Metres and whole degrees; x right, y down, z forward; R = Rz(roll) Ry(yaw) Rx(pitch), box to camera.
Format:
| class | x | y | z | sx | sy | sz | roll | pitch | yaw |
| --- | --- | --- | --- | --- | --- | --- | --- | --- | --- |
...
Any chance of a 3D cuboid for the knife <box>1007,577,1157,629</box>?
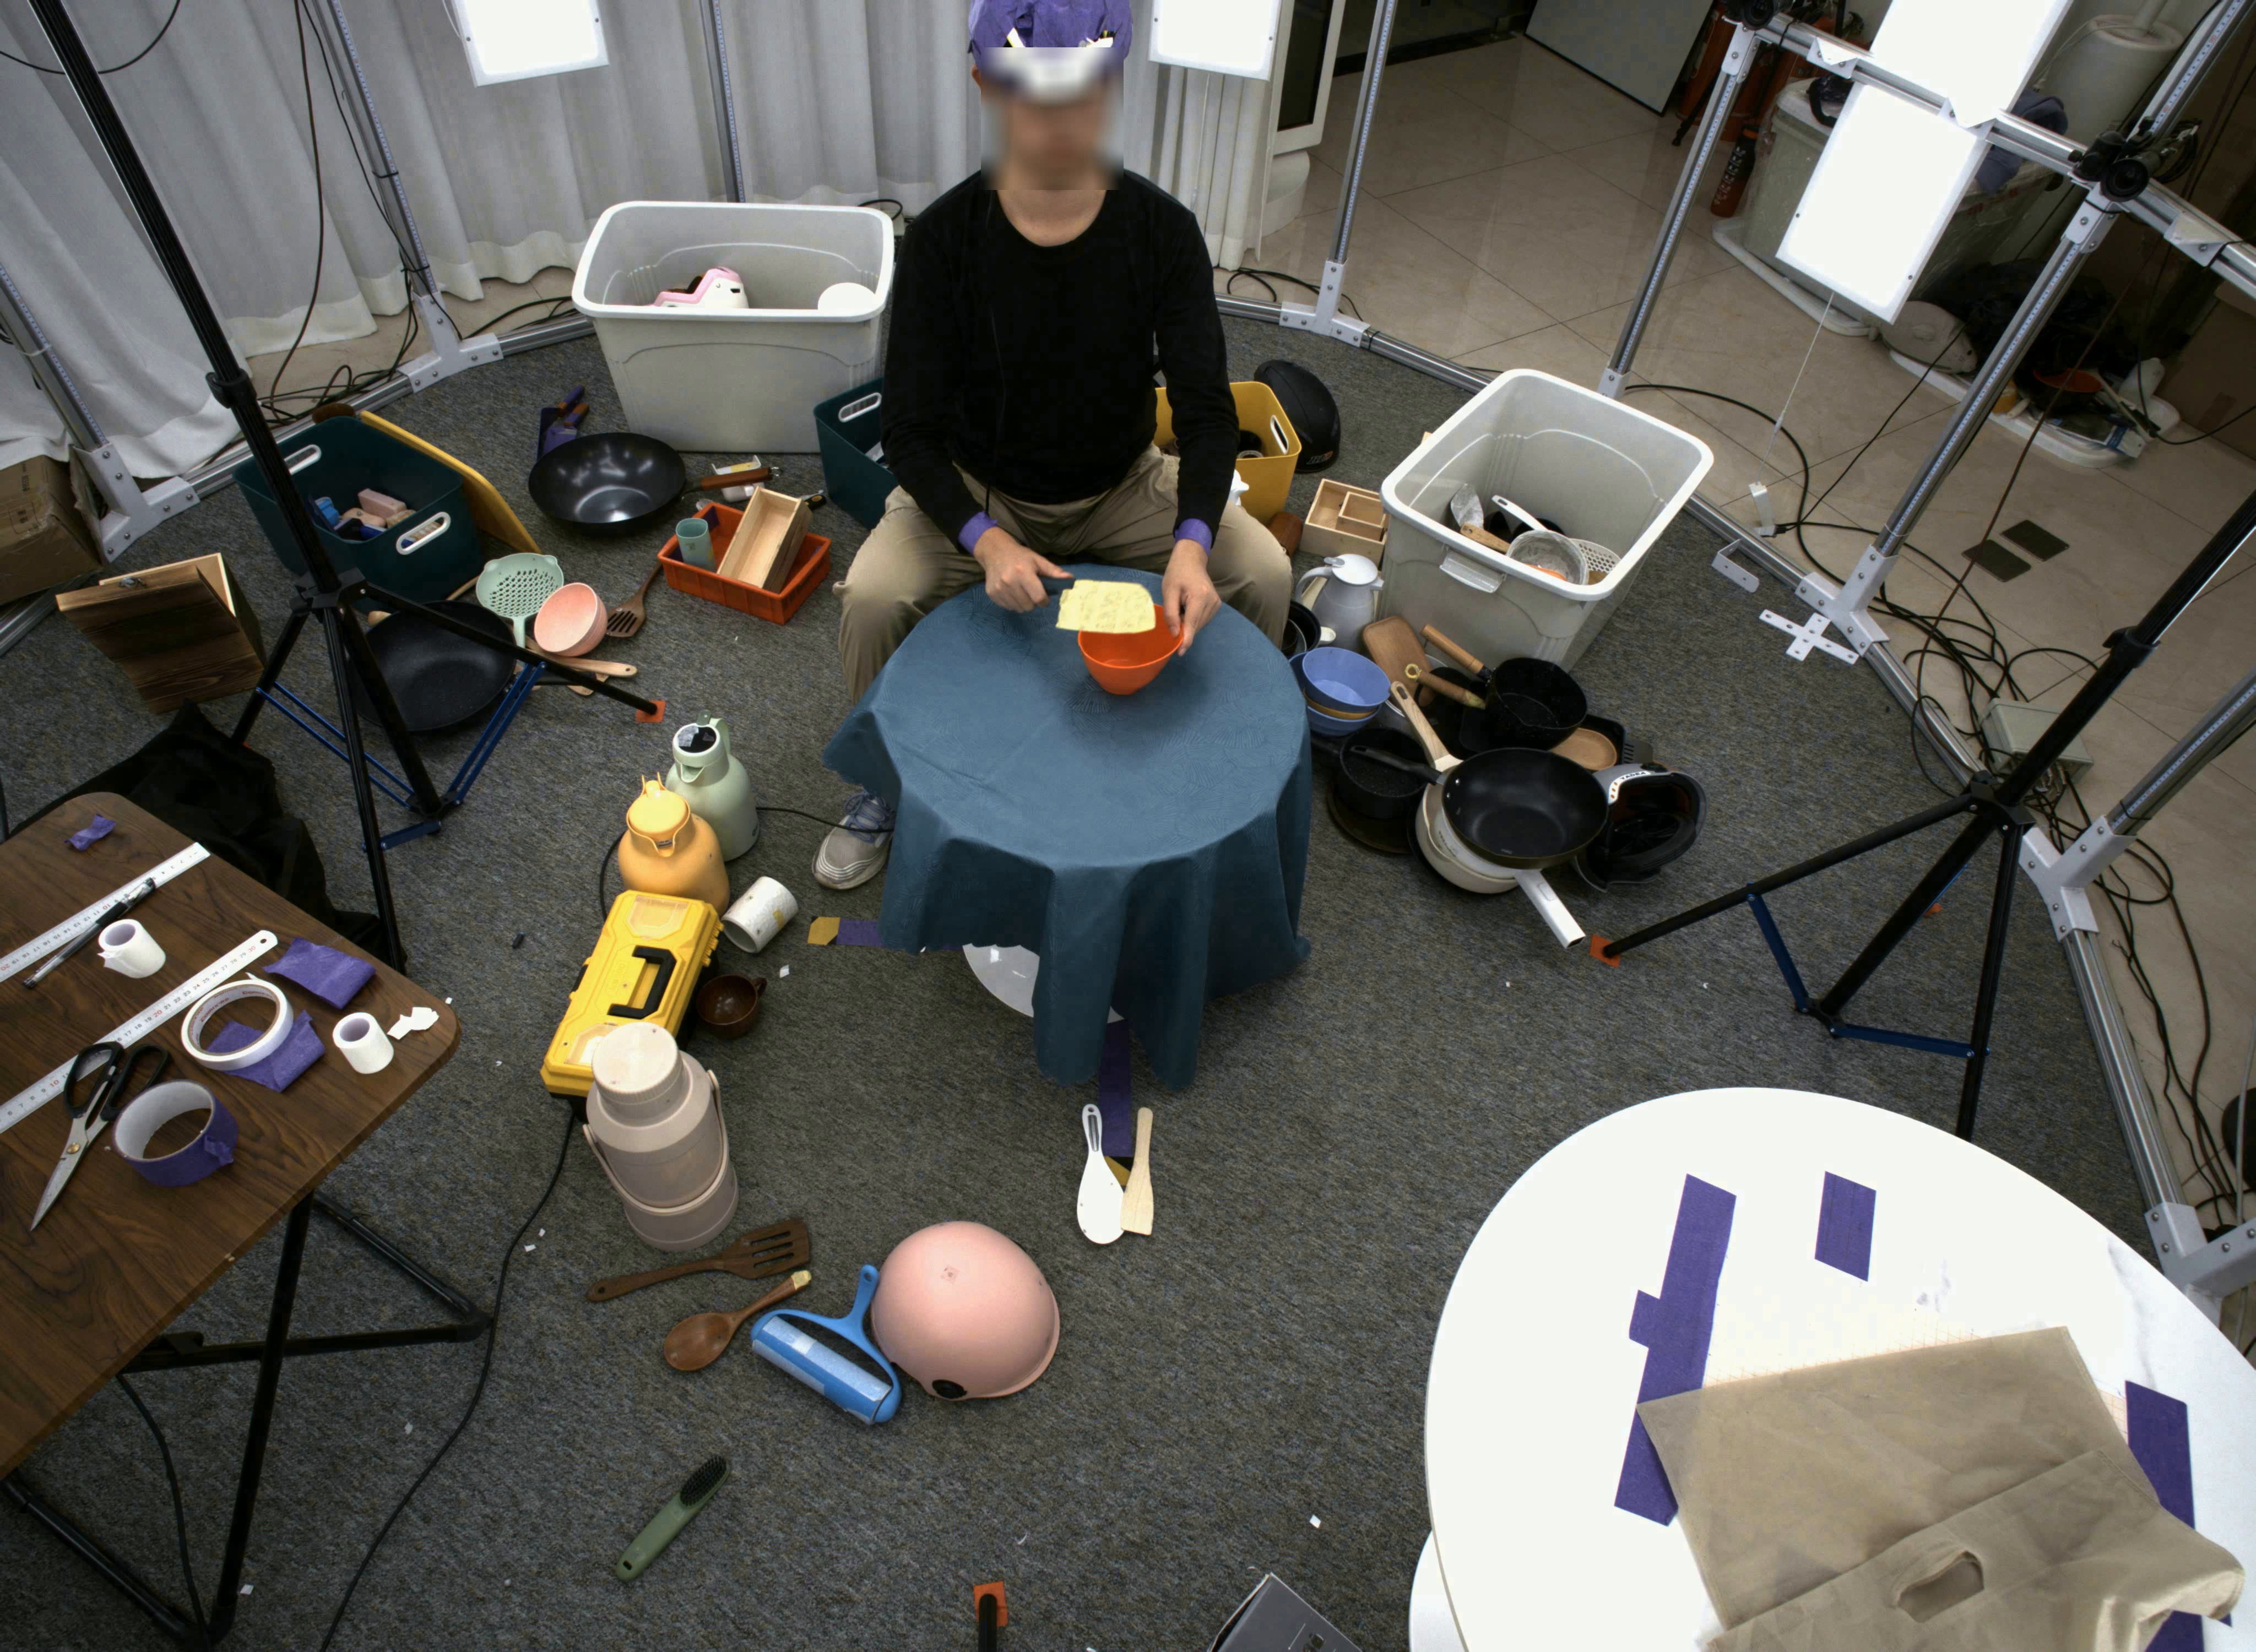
| class | x | y | z | sx | sy | sz | roll | pitch | yaw |
| --- | --- | --- | --- | --- | --- | --- | --- | --- | --- |
| knife | -0.070 | -0.318 | 1.819 | 0.292 | 0.027 | 0.081 | 14 | 83 | 40 |

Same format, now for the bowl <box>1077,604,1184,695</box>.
| class | x | y | z | sx | sy | sz | roll | pitch | yaw |
| --- | --- | --- | --- | --- | --- | --- | --- | --- | --- |
| bowl | 0.001 | -0.240 | 1.811 | 0.148 | 0.102 | 0.152 | 1 | 50 | -1 |
